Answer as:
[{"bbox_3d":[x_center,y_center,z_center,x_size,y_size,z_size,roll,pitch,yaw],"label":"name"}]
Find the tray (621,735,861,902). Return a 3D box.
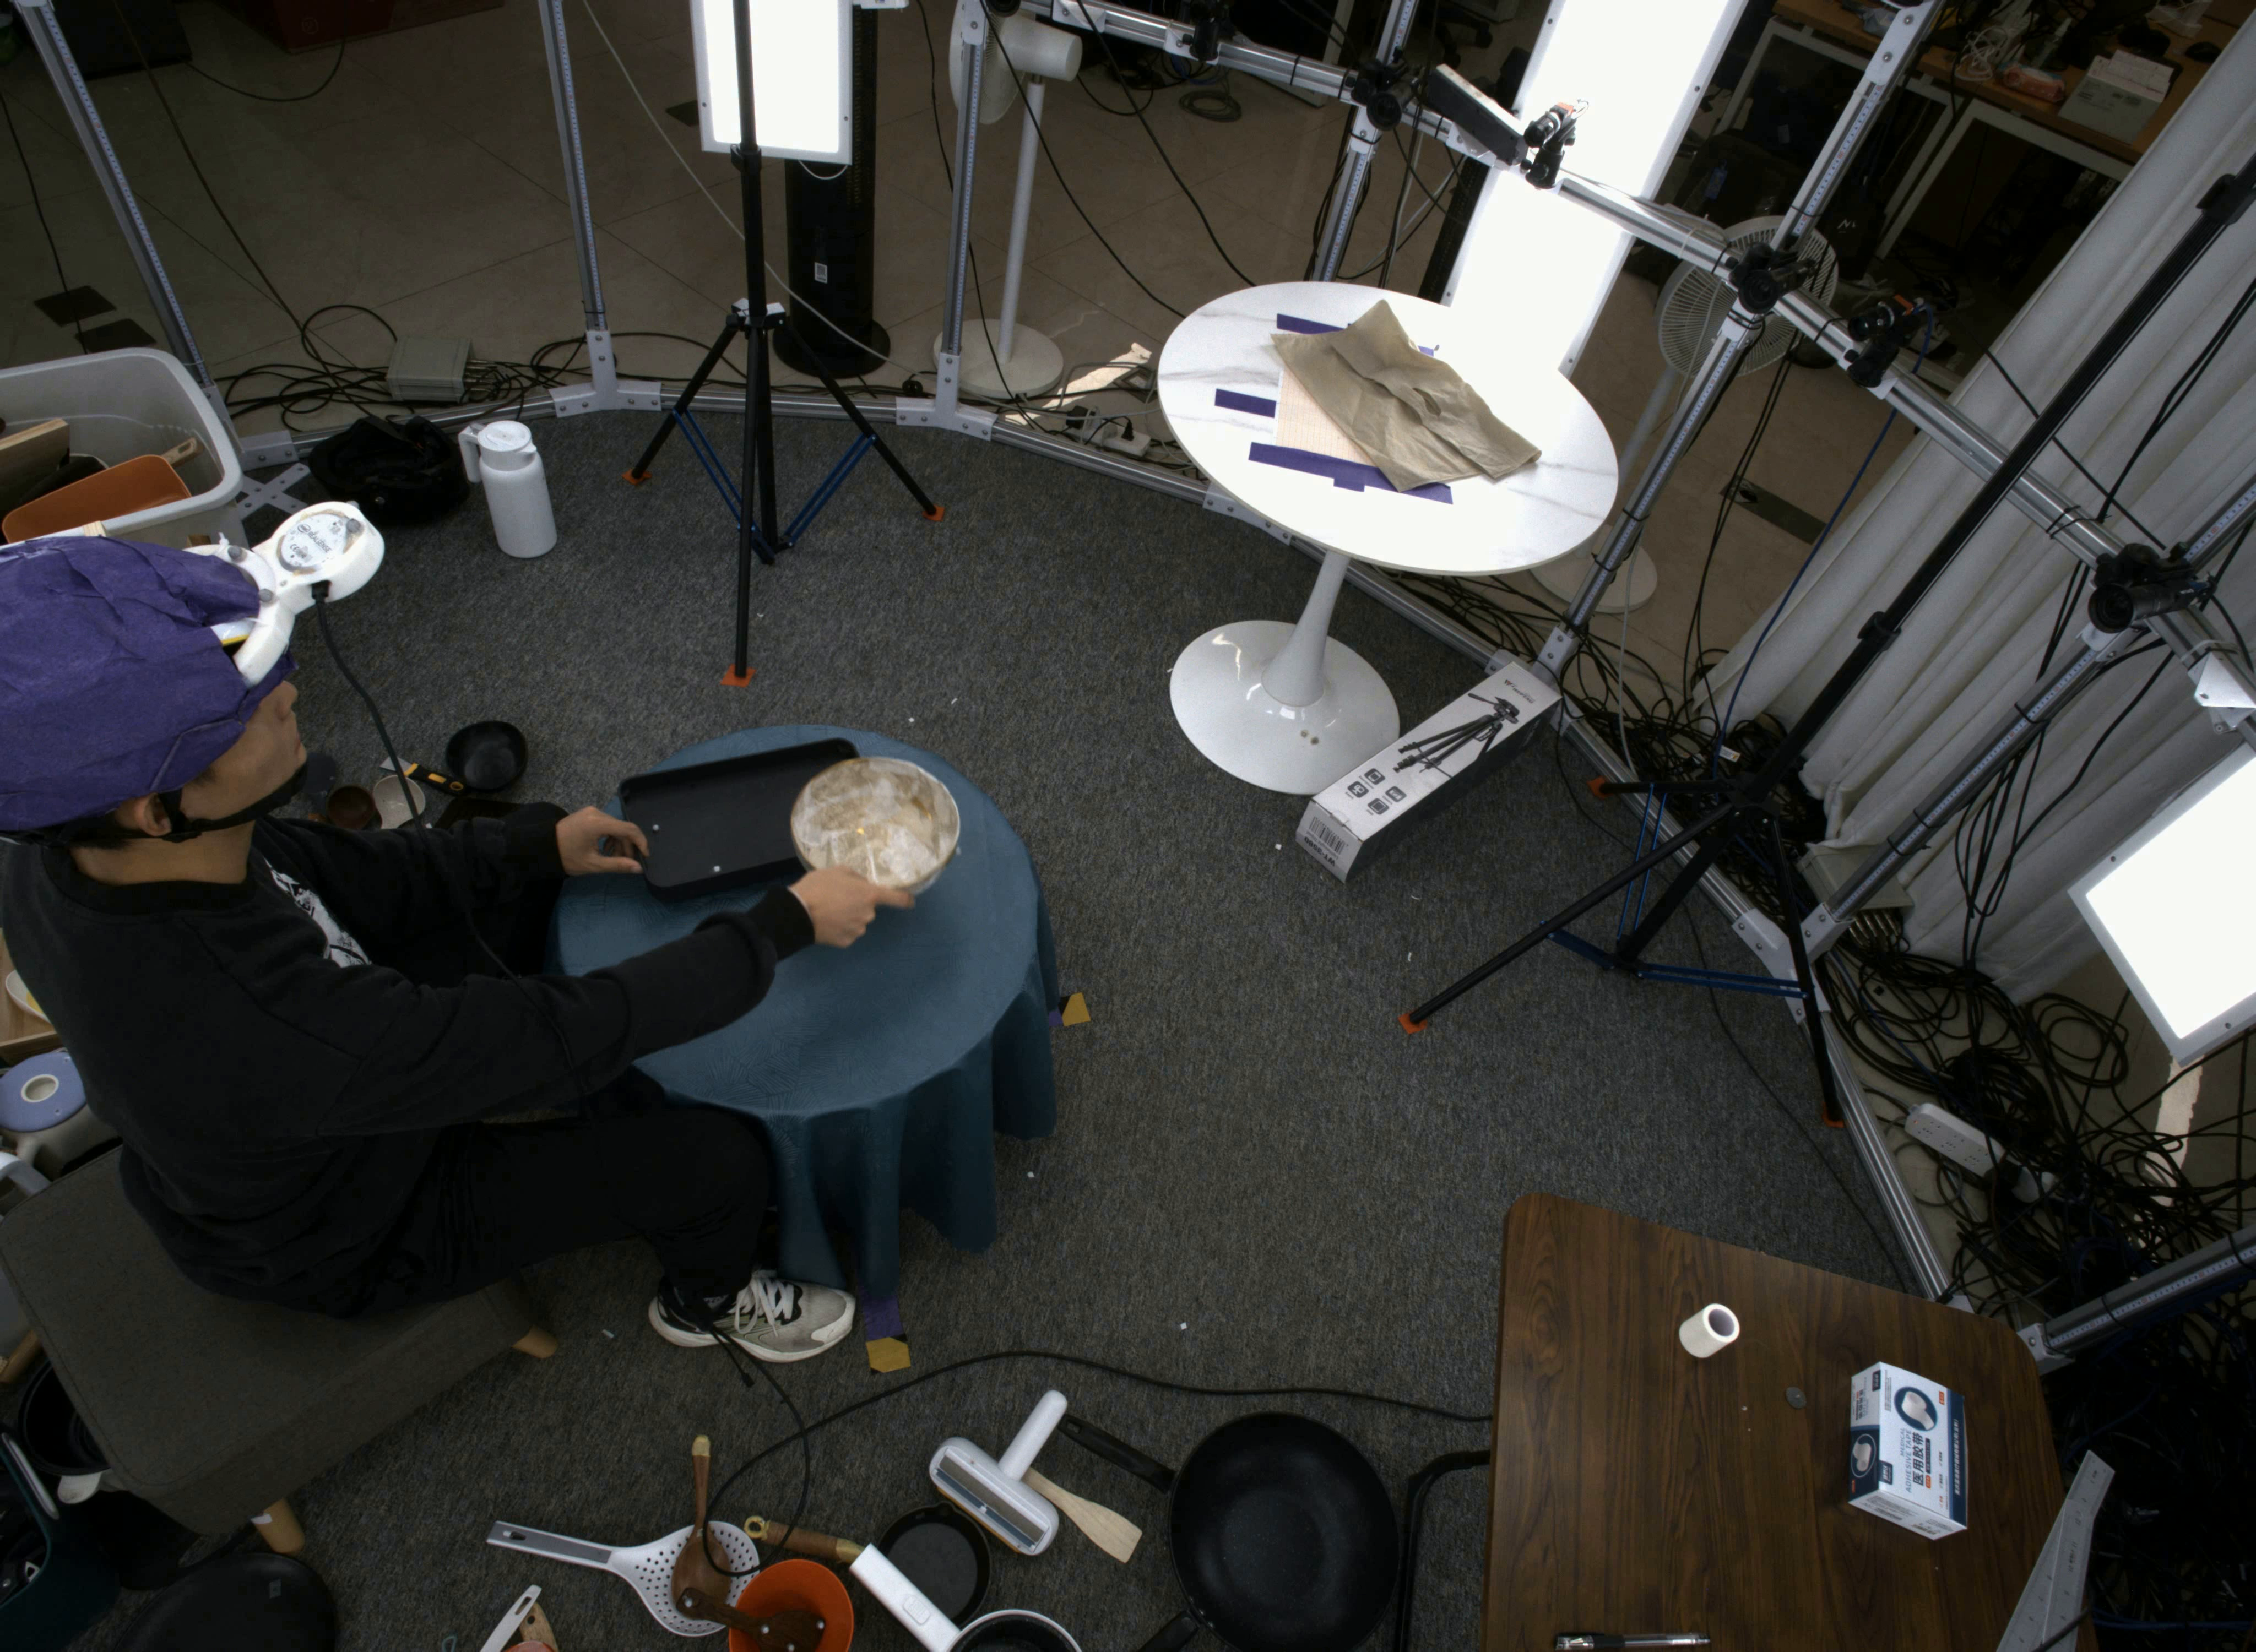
[{"bbox_3d":[-0.484,-0.016,1.684,0.320,0.037,0.180,-14,60,-28],"label":"tray"}]

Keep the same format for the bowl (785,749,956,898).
[{"bbox_3d":[-0.318,0.012,1.596,0.214,0.096,0.211,8,52,-9],"label":"bowl"}]
